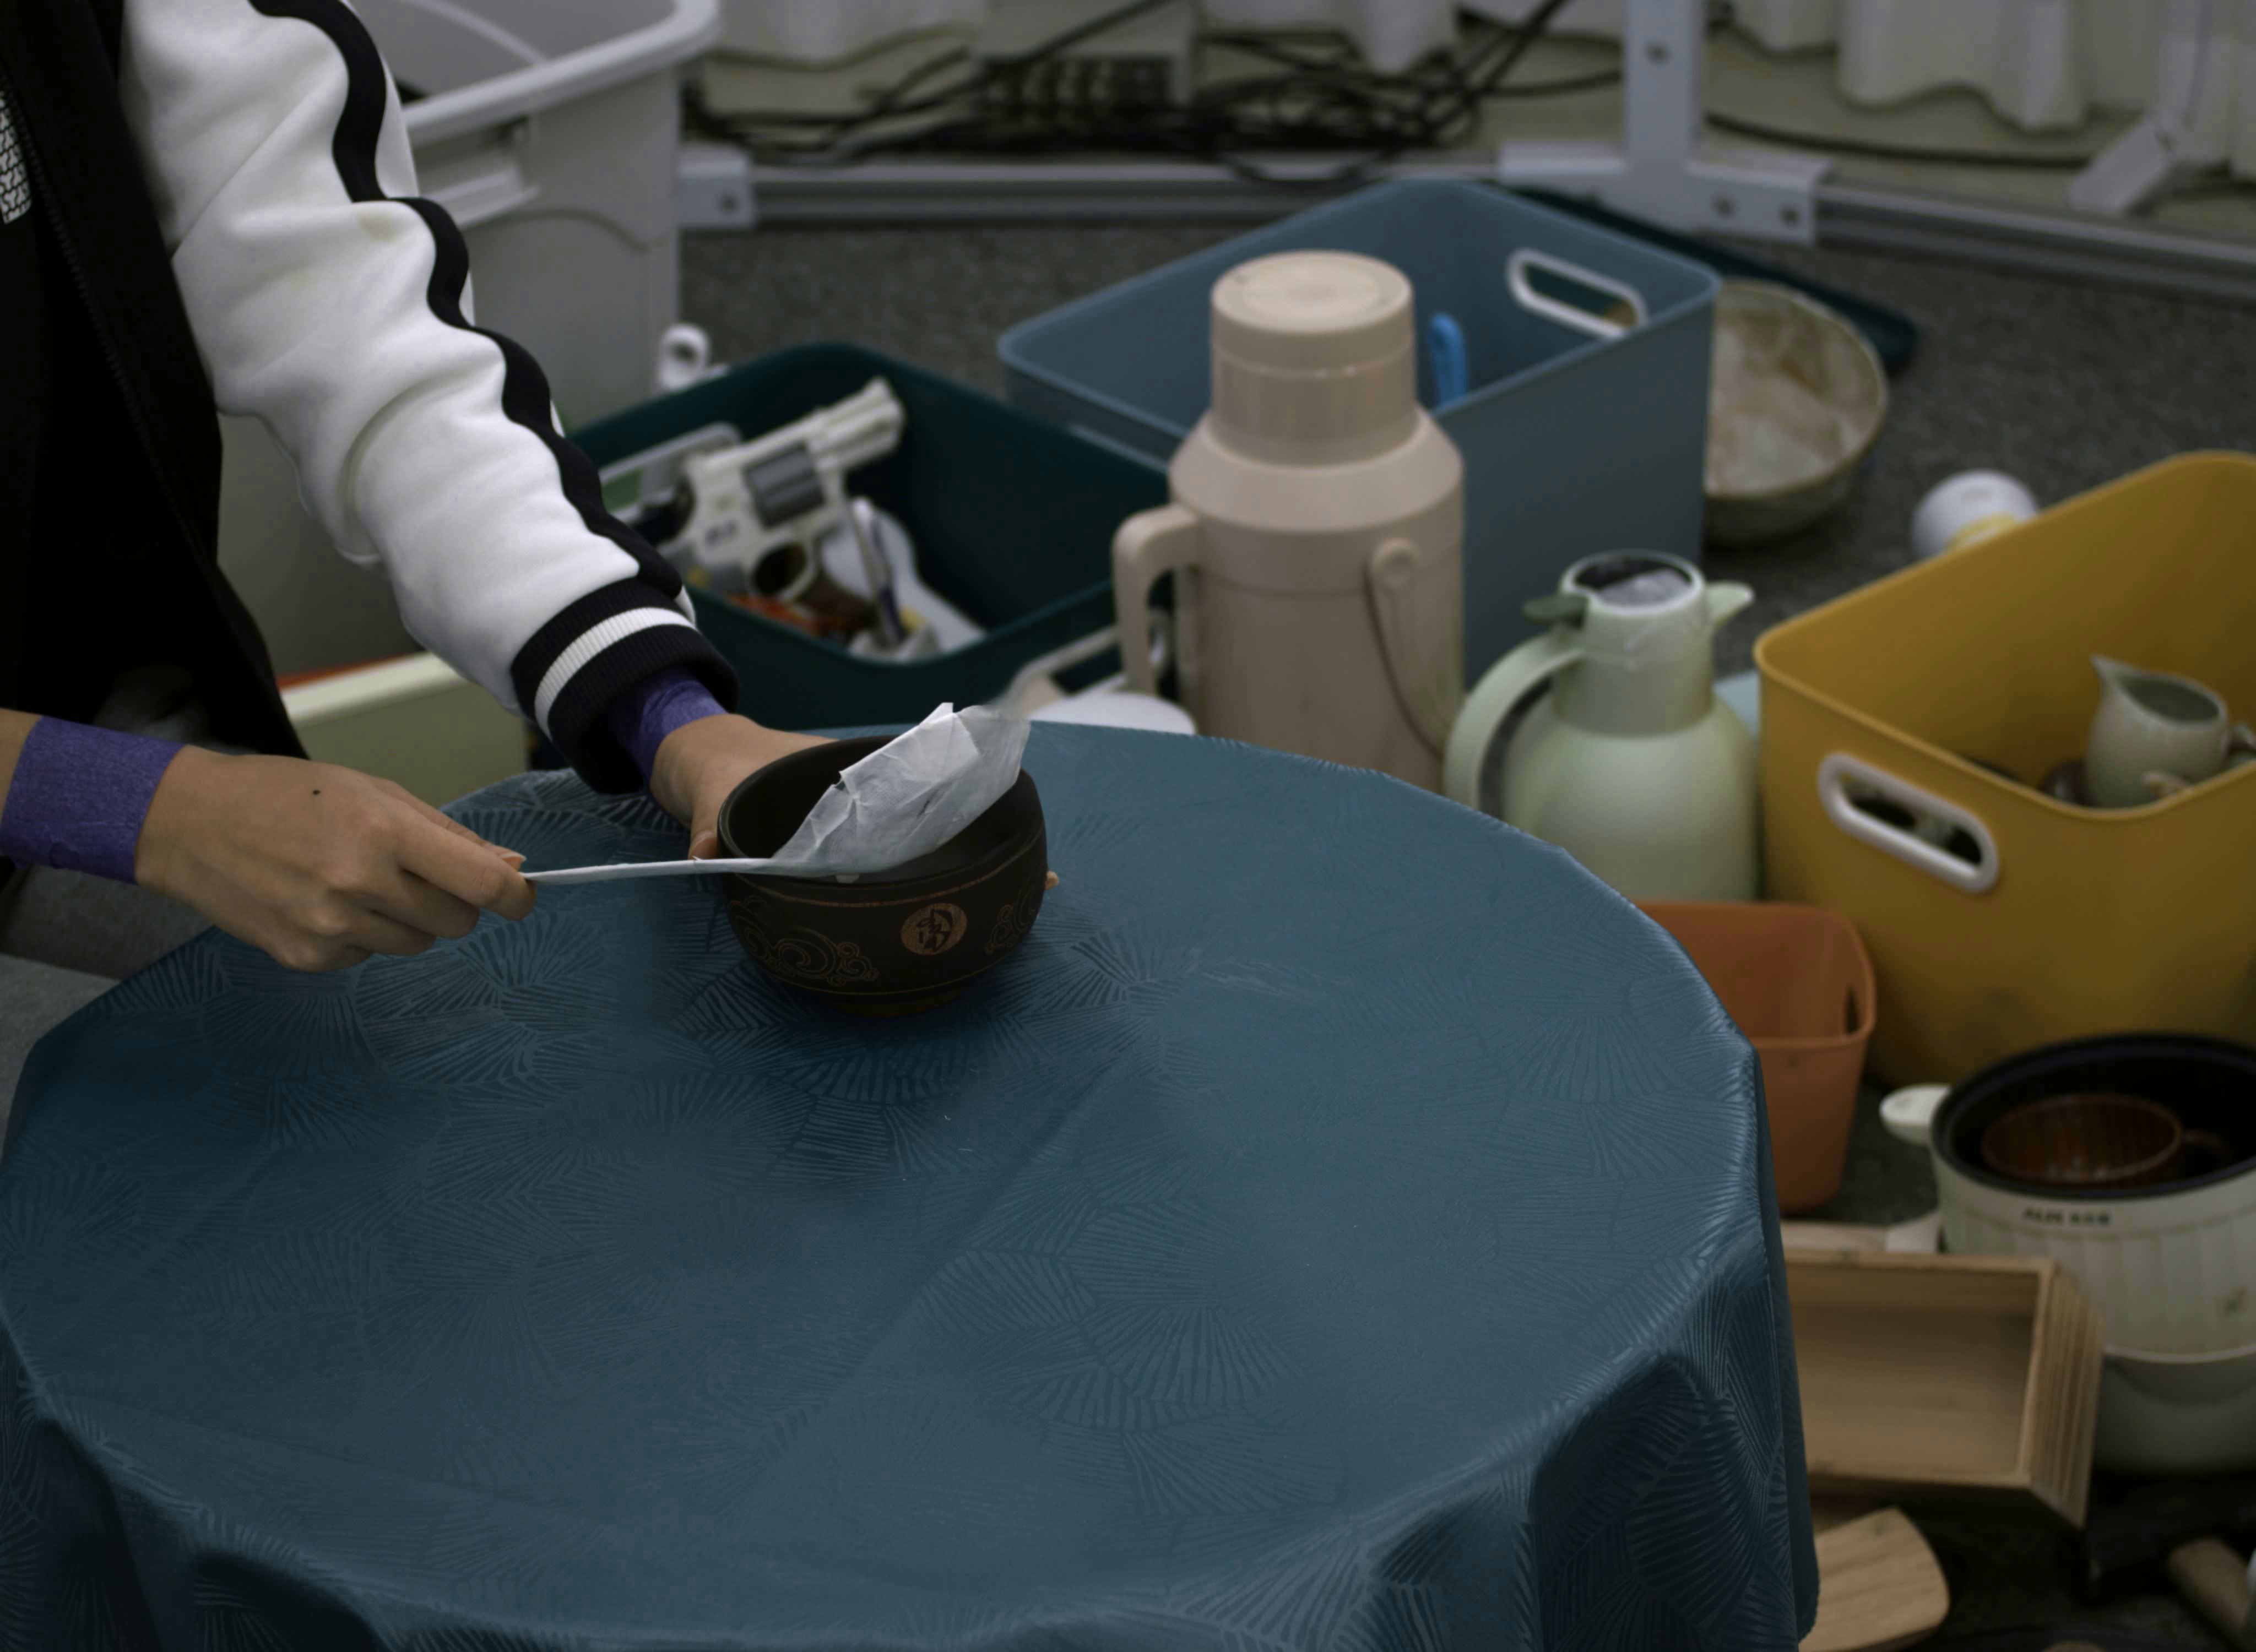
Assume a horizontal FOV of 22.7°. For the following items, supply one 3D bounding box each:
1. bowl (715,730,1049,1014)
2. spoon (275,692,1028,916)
[{"bbox_3d":[-0.086,0.023,1.982,0.117,0.069,0.120,-2,27,1],"label":"bowl"},{"bbox_3d":[-0.167,-0.005,1.949,0.275,0.060,0.100,-4,-18,17],"label":"spoon"}]
